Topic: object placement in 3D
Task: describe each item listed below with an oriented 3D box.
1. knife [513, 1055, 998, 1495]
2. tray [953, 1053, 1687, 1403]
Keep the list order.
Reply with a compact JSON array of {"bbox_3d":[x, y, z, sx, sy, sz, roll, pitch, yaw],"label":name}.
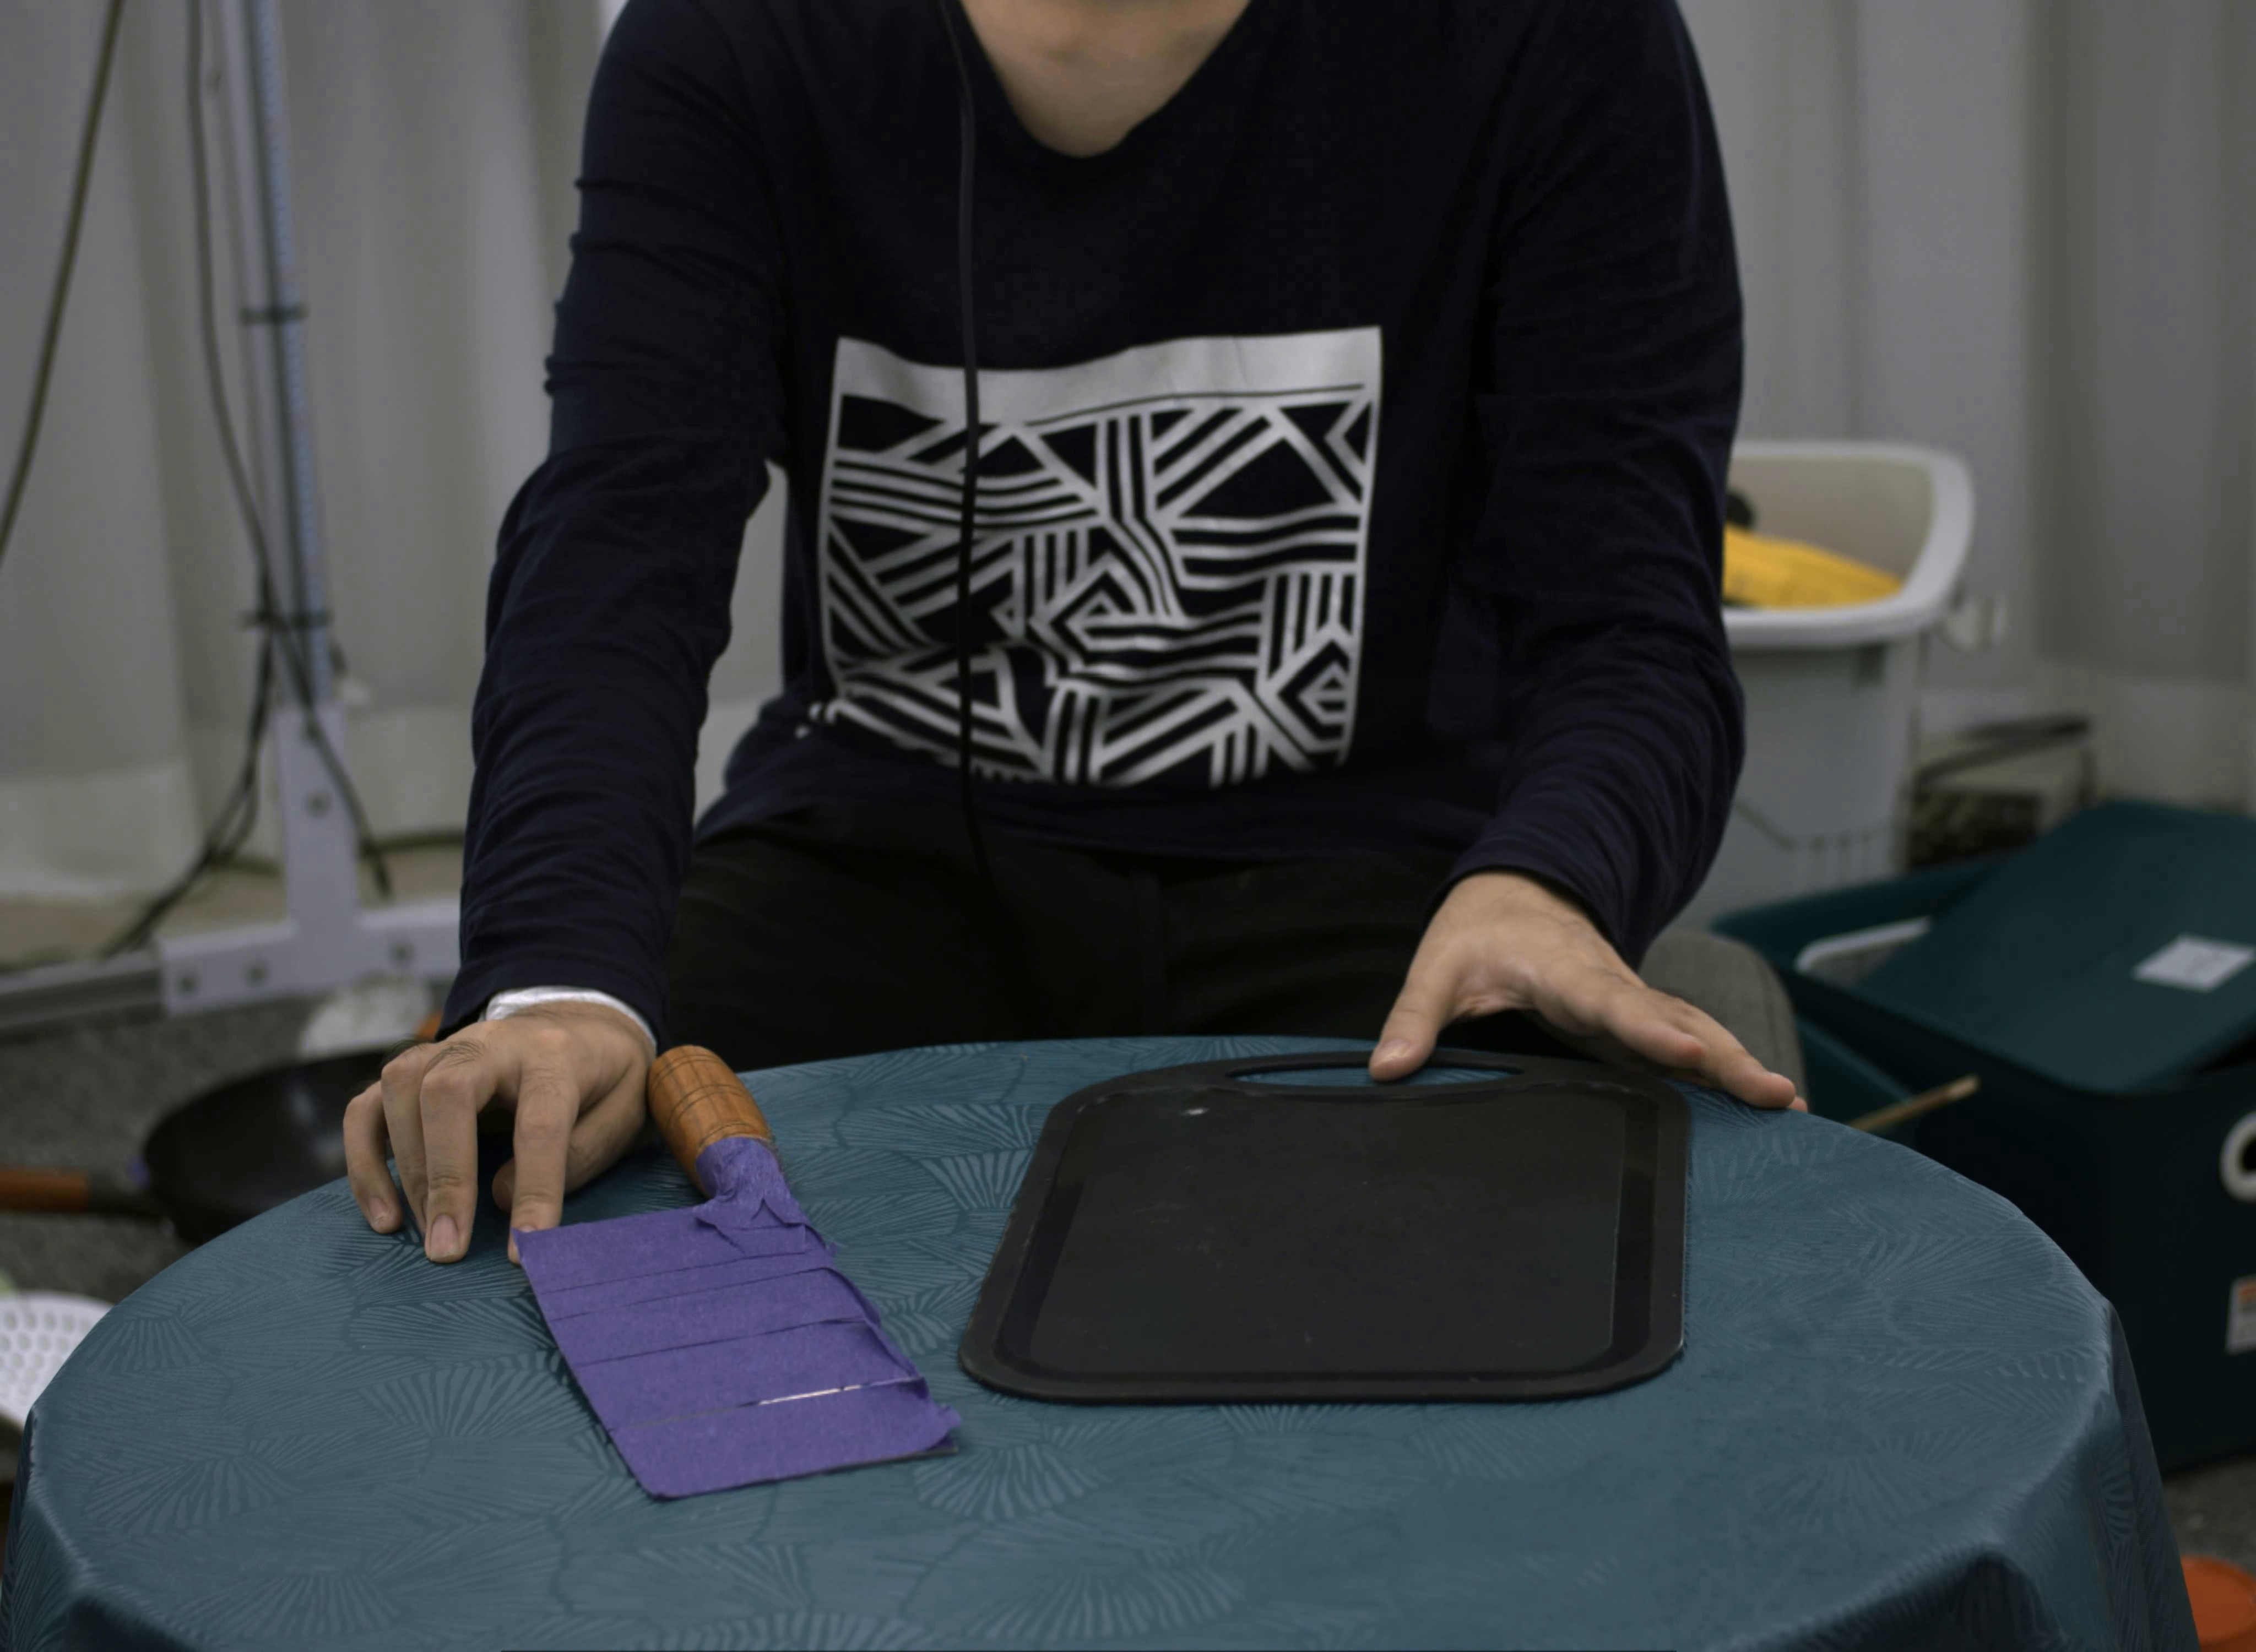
[{"bbox_3d":[-0.131,0.130,1.632,0.103,0.032,0.318,-7,16,-16],"label":"knife"},{"bbox_3d":[0.065,0.118,1.682,0.210,0.010,0.327,-1,15,7],"label":"tray"}]
